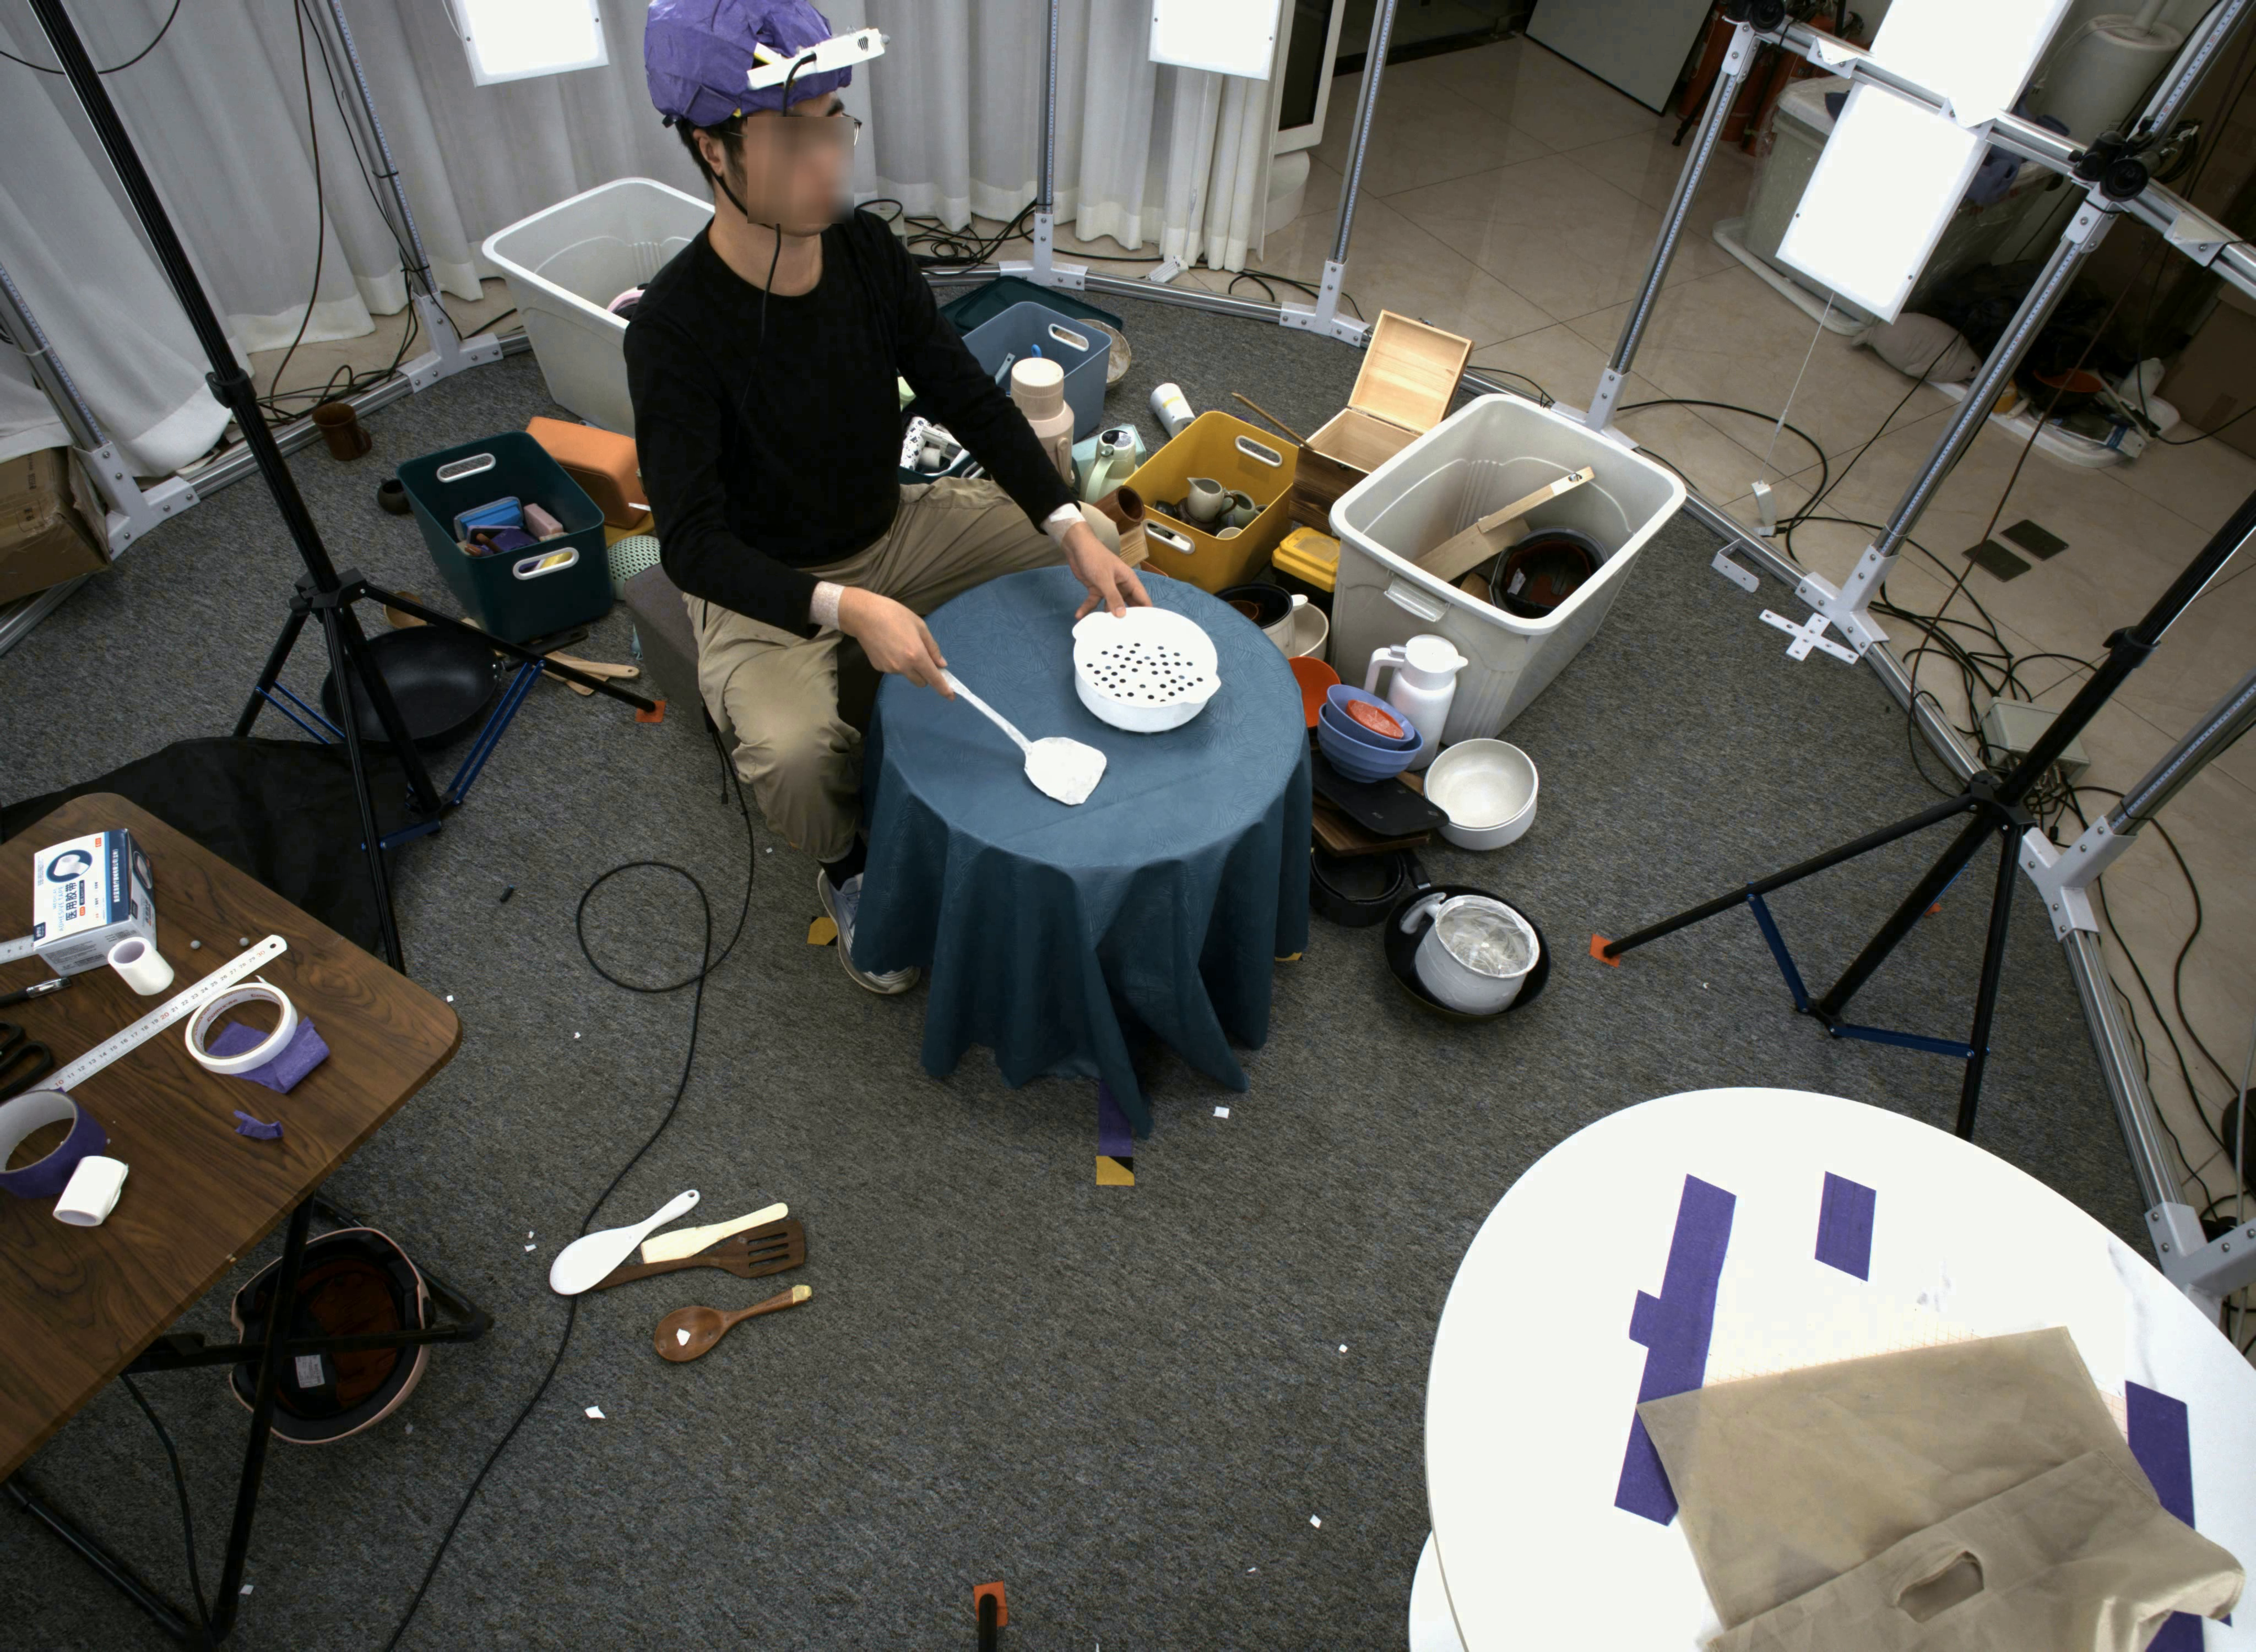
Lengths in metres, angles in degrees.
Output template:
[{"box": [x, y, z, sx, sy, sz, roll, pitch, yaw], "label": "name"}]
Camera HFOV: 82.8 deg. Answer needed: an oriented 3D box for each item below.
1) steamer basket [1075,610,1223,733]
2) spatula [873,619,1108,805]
[{"box": [0.027, -0.218, 1.816, 0.233, 0.067, 0.204, 31, 53, 23], "label": "steamer basket"}, {"box": [-0.188, -0.159, 1.697, 0.362, 0.044, 0.100, 38, 61, -9], "label": "spatula"}]
